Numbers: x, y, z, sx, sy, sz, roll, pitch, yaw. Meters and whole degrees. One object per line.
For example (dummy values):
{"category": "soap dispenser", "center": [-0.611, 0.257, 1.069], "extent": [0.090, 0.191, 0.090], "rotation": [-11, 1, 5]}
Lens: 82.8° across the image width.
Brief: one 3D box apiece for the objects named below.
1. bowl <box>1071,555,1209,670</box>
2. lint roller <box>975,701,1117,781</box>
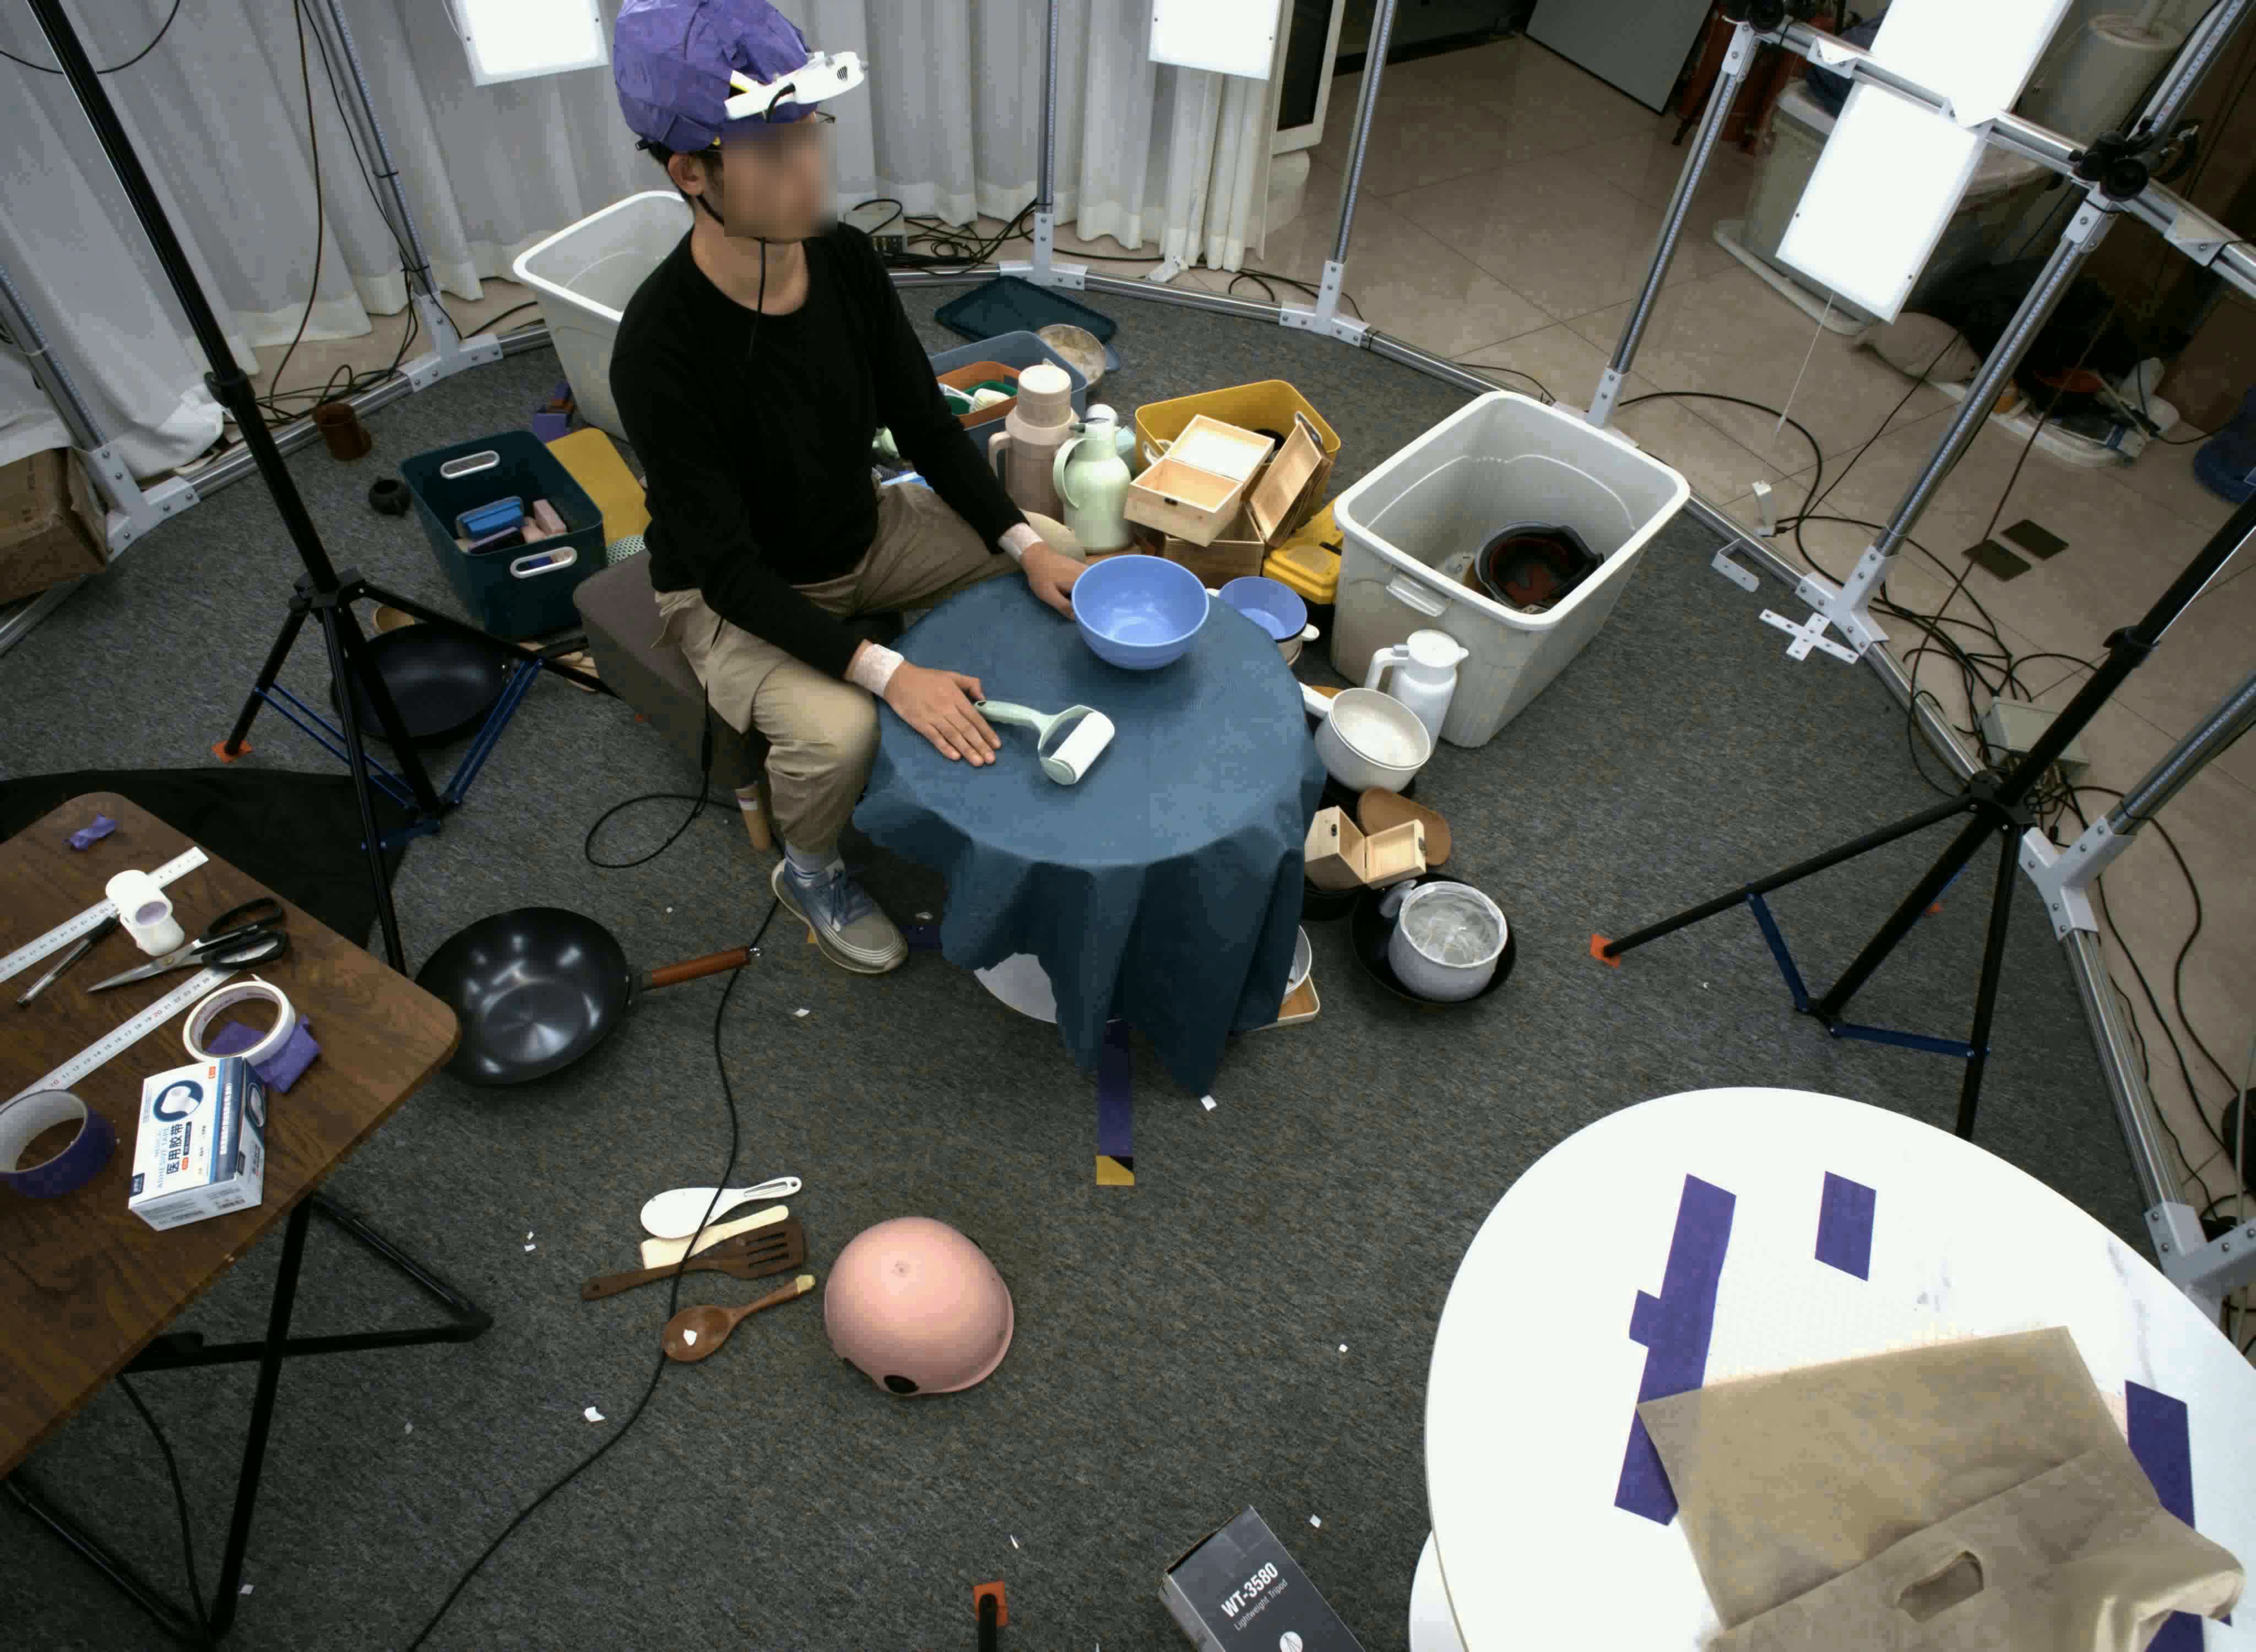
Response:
{"category": "bowl", "center": [0.015, -0.295, 1.865], "extent": [0.196, 0.093, 0.201], "rotation": [1, 50, -2]}
{"category": "lint roller", "center": [-0.123, -0.140, 1.754], "extent": [0.199, 0.047, 0.118], "rotation": [25, 53, 18]}
